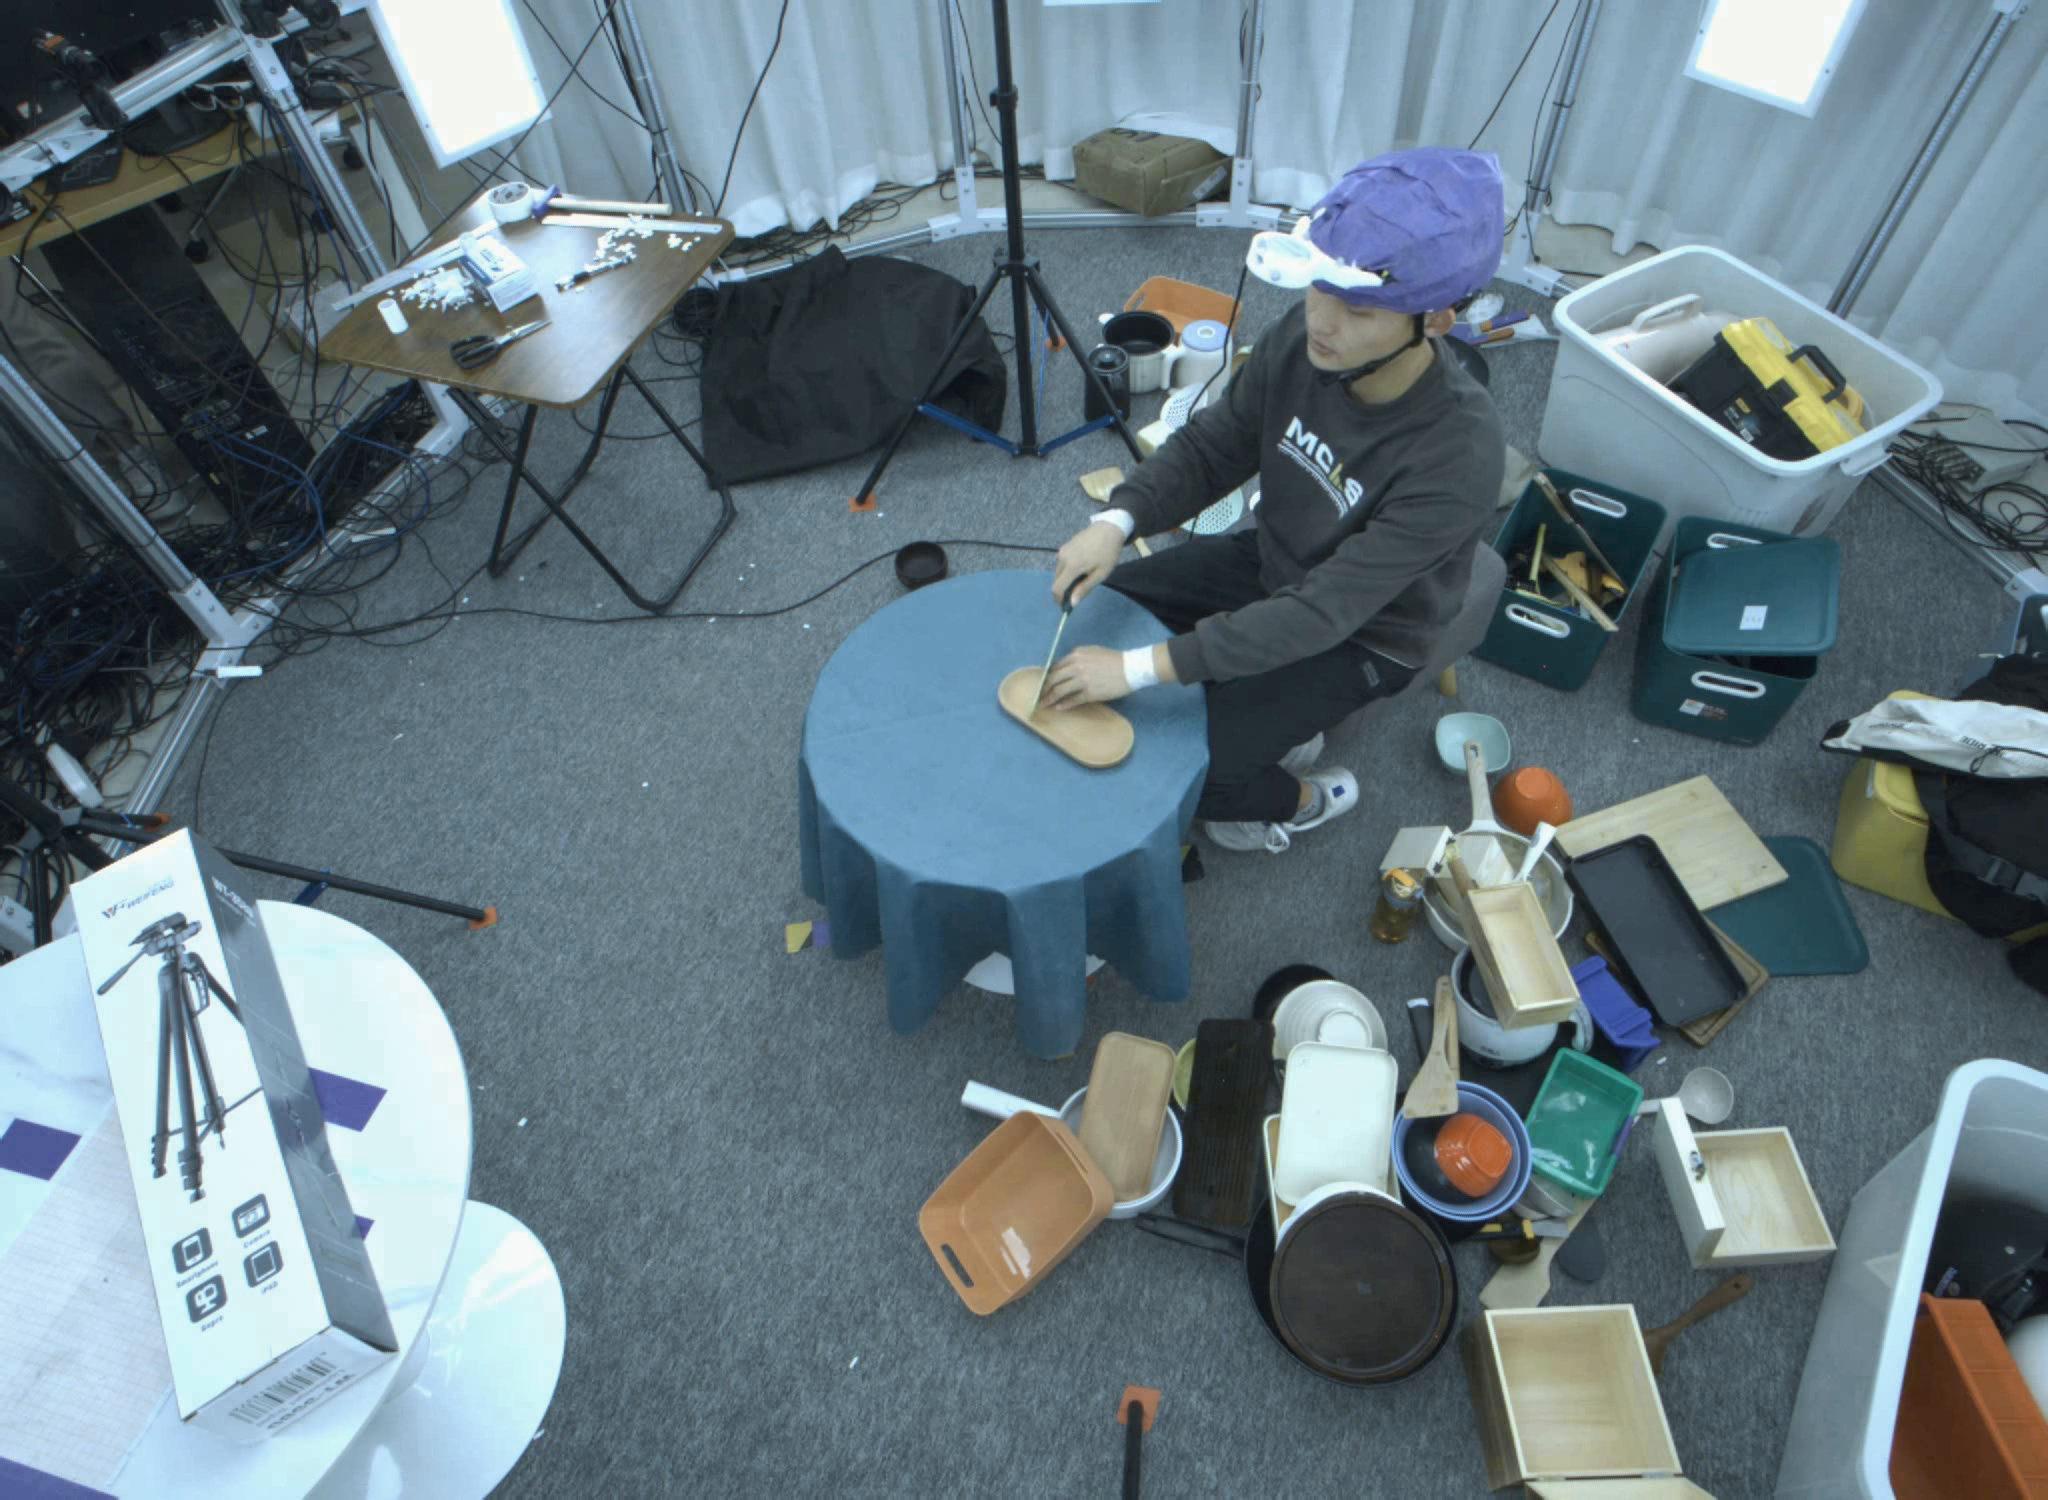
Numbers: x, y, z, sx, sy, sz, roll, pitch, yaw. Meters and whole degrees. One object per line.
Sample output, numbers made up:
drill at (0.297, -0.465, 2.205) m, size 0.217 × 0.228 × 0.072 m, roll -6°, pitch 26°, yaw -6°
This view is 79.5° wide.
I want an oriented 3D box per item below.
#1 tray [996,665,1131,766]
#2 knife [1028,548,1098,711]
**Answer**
tray at (0.057, -0.052, 1.821) m, size 0.227 × 0.020 × 0.102 m, roll 34°, pitch 61°, yaw 24°
knife at (0.055, -0.182, 1.850) m, size 0.027 × 0.081 × 0.289 m, roll 23°, pitch 68°, yaw -3°
